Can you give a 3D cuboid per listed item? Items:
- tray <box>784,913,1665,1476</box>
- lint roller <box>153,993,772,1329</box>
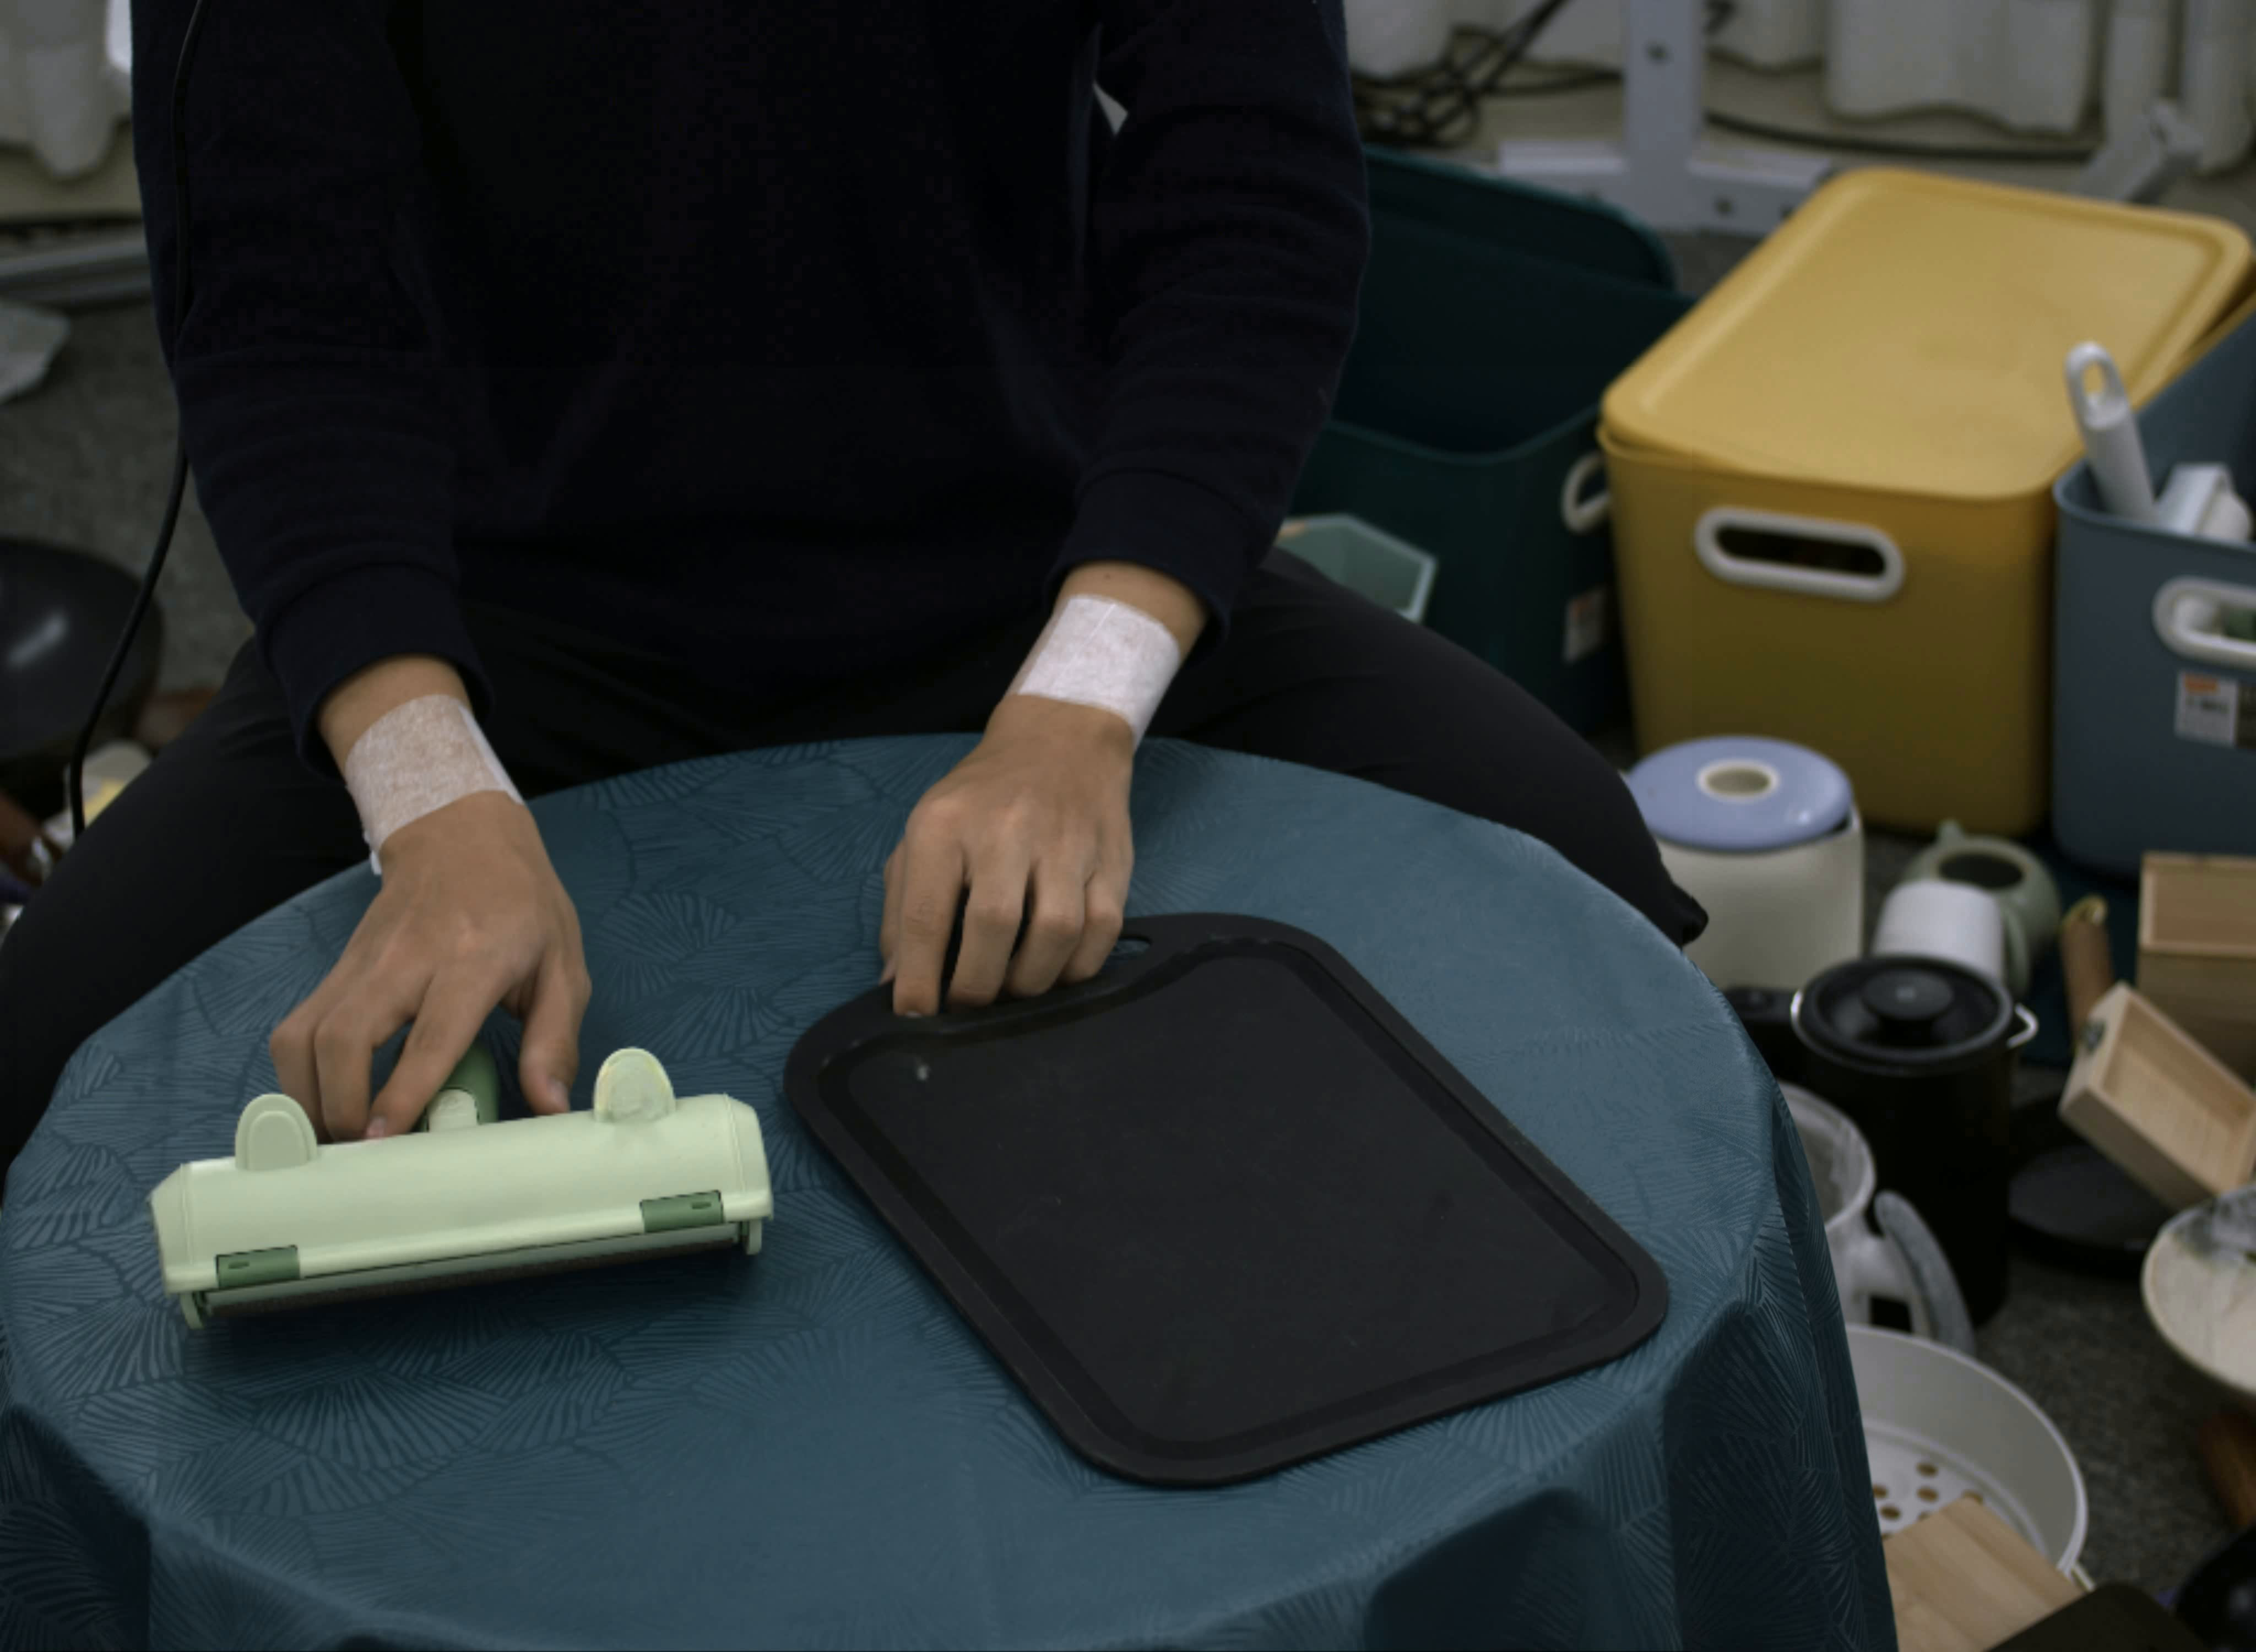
[{"bbox_3d":[0.022,0.111,1.860,0.212,0.009,0.328,-14,32,-22],"label":"tray"},{"bbox_3d":[-0.226,0.088,1.857,0.198,0.081,0.186,-7,34,-10],"label":"lint roller"}]
